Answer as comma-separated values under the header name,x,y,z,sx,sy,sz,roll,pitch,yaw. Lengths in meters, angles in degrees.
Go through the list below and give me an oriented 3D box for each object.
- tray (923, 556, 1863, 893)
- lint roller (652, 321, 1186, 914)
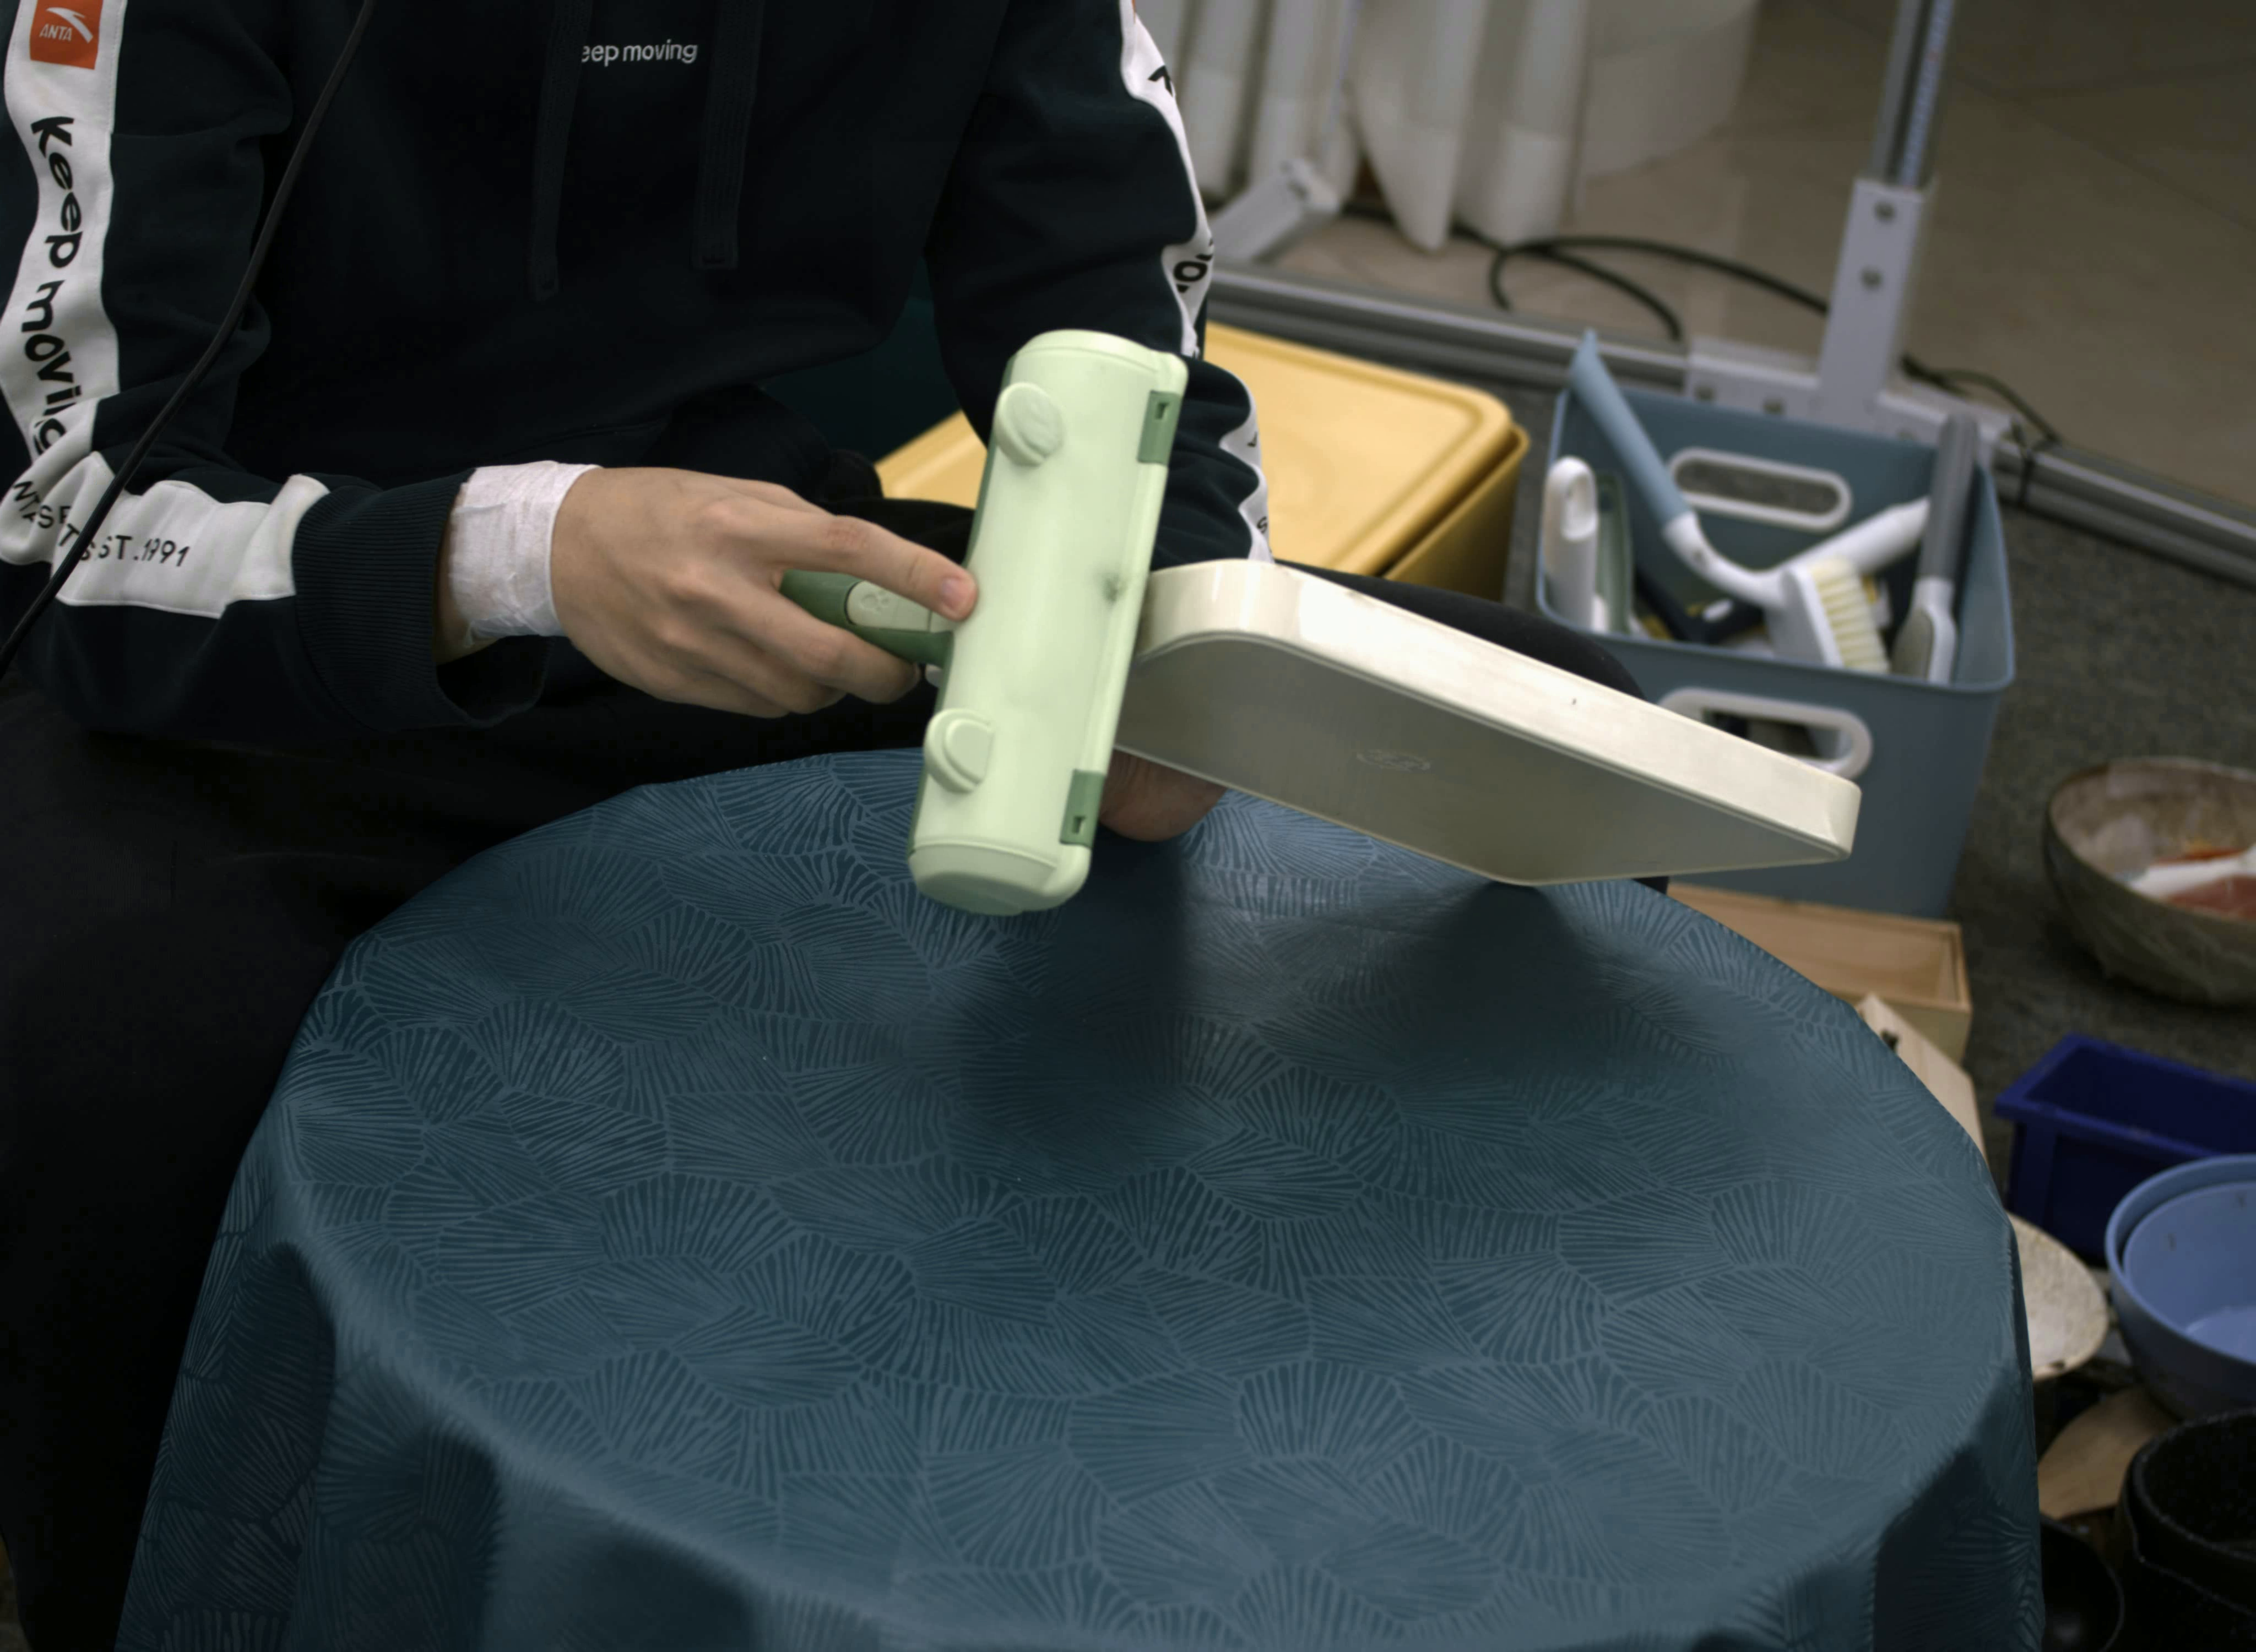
name,x,y,z,sx,sy,sz,roll,pitch,yaw
tray,0.095,-0.030,1.881,0.297,0.027,0.192,19,-16,-35
lint roller,-0.083,-0.077,1.769,0.183,0.199,0.081,6,-18,18
